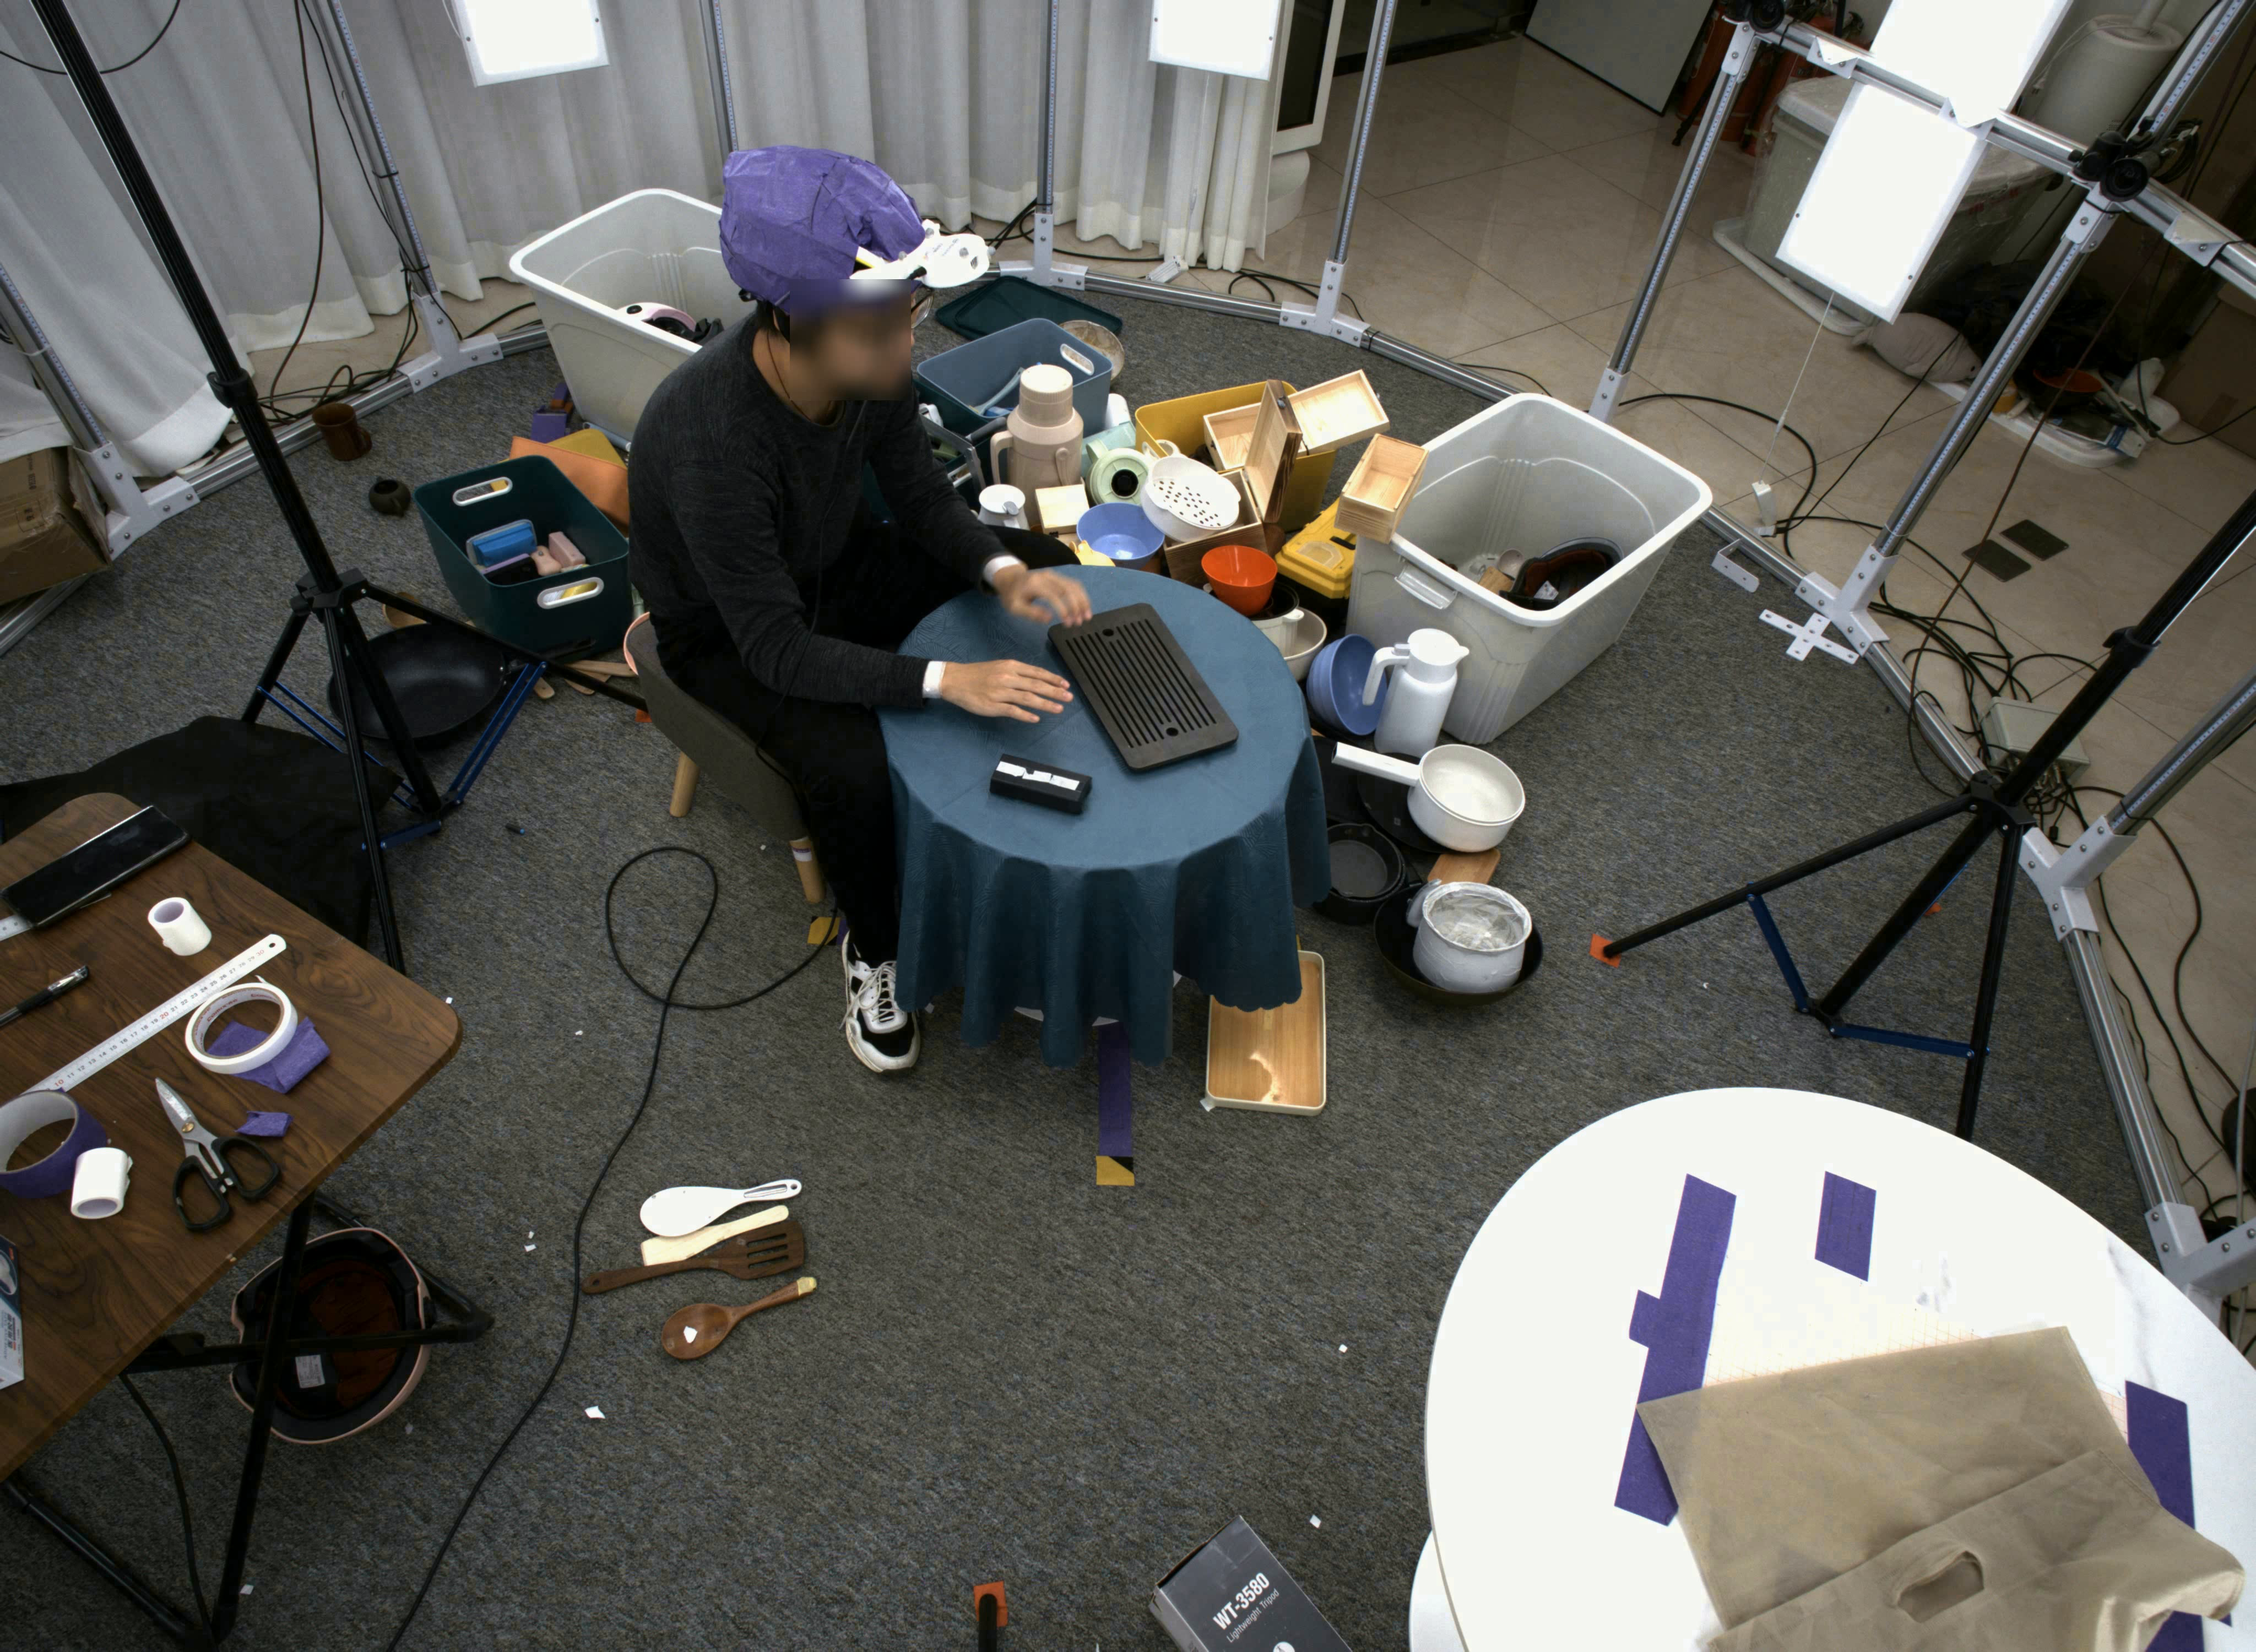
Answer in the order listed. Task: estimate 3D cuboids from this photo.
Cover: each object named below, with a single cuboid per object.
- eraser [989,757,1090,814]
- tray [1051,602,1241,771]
[{"bbox_3d":[-0.116,-0.054,1.691,0.126,0.030,0.054,13,47,9],"label":"eraser"},{"bbox_3d":[0.021,-0.205,1.837,0.170,0.018,0.313,-17,52,-17],"label":"tray"}]
